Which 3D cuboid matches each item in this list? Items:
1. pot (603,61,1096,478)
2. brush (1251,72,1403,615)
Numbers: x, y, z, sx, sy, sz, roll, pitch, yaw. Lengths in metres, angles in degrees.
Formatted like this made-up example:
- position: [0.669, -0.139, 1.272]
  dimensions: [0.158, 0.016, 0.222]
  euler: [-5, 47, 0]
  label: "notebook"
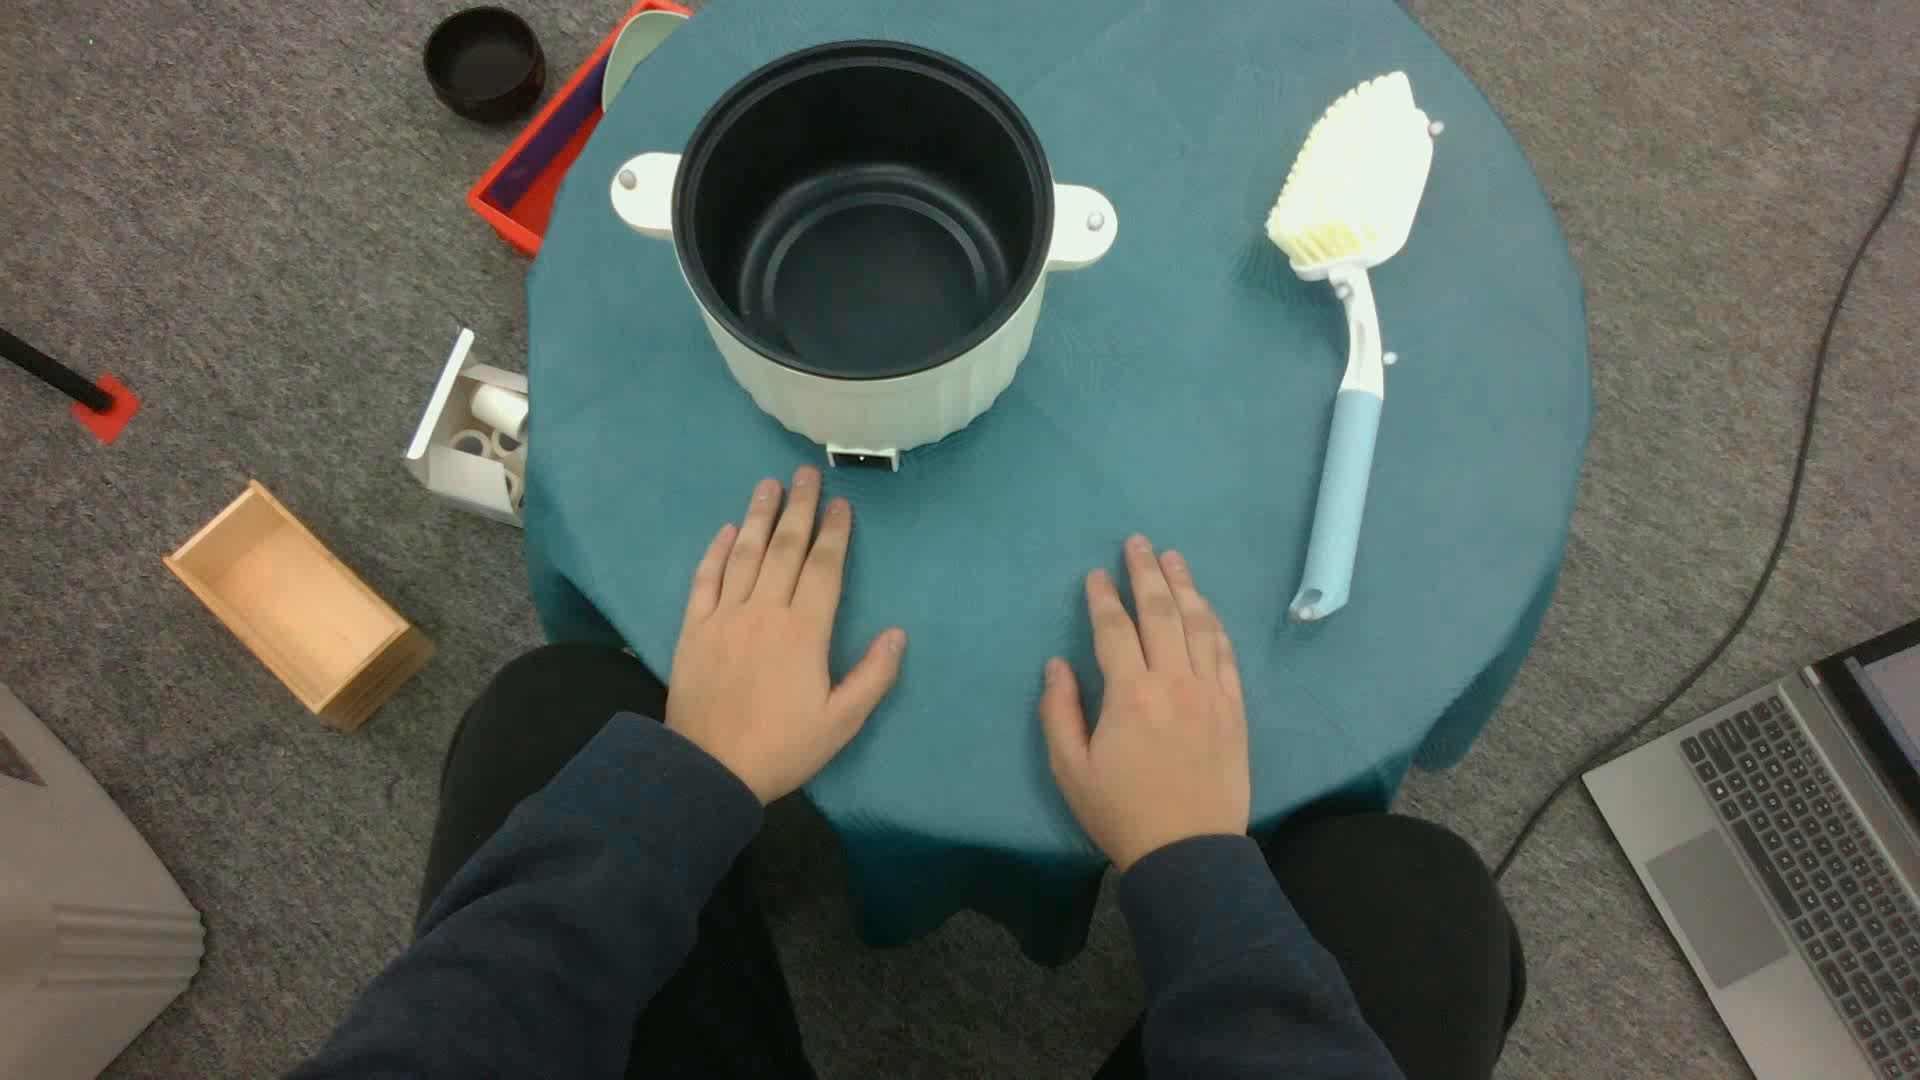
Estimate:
- position: [-0.053, -0.141, 0.730]
  dimensions: [0.240, 0.142, 0.191]
  euler: [1, 75, 1]
  label: "pot"
- position: [0.195, -0.122, 0.747]
  dimensions: [0.084, 0.083, 0.326]
  euler: [12, 71, 0]
  label: "brush"
